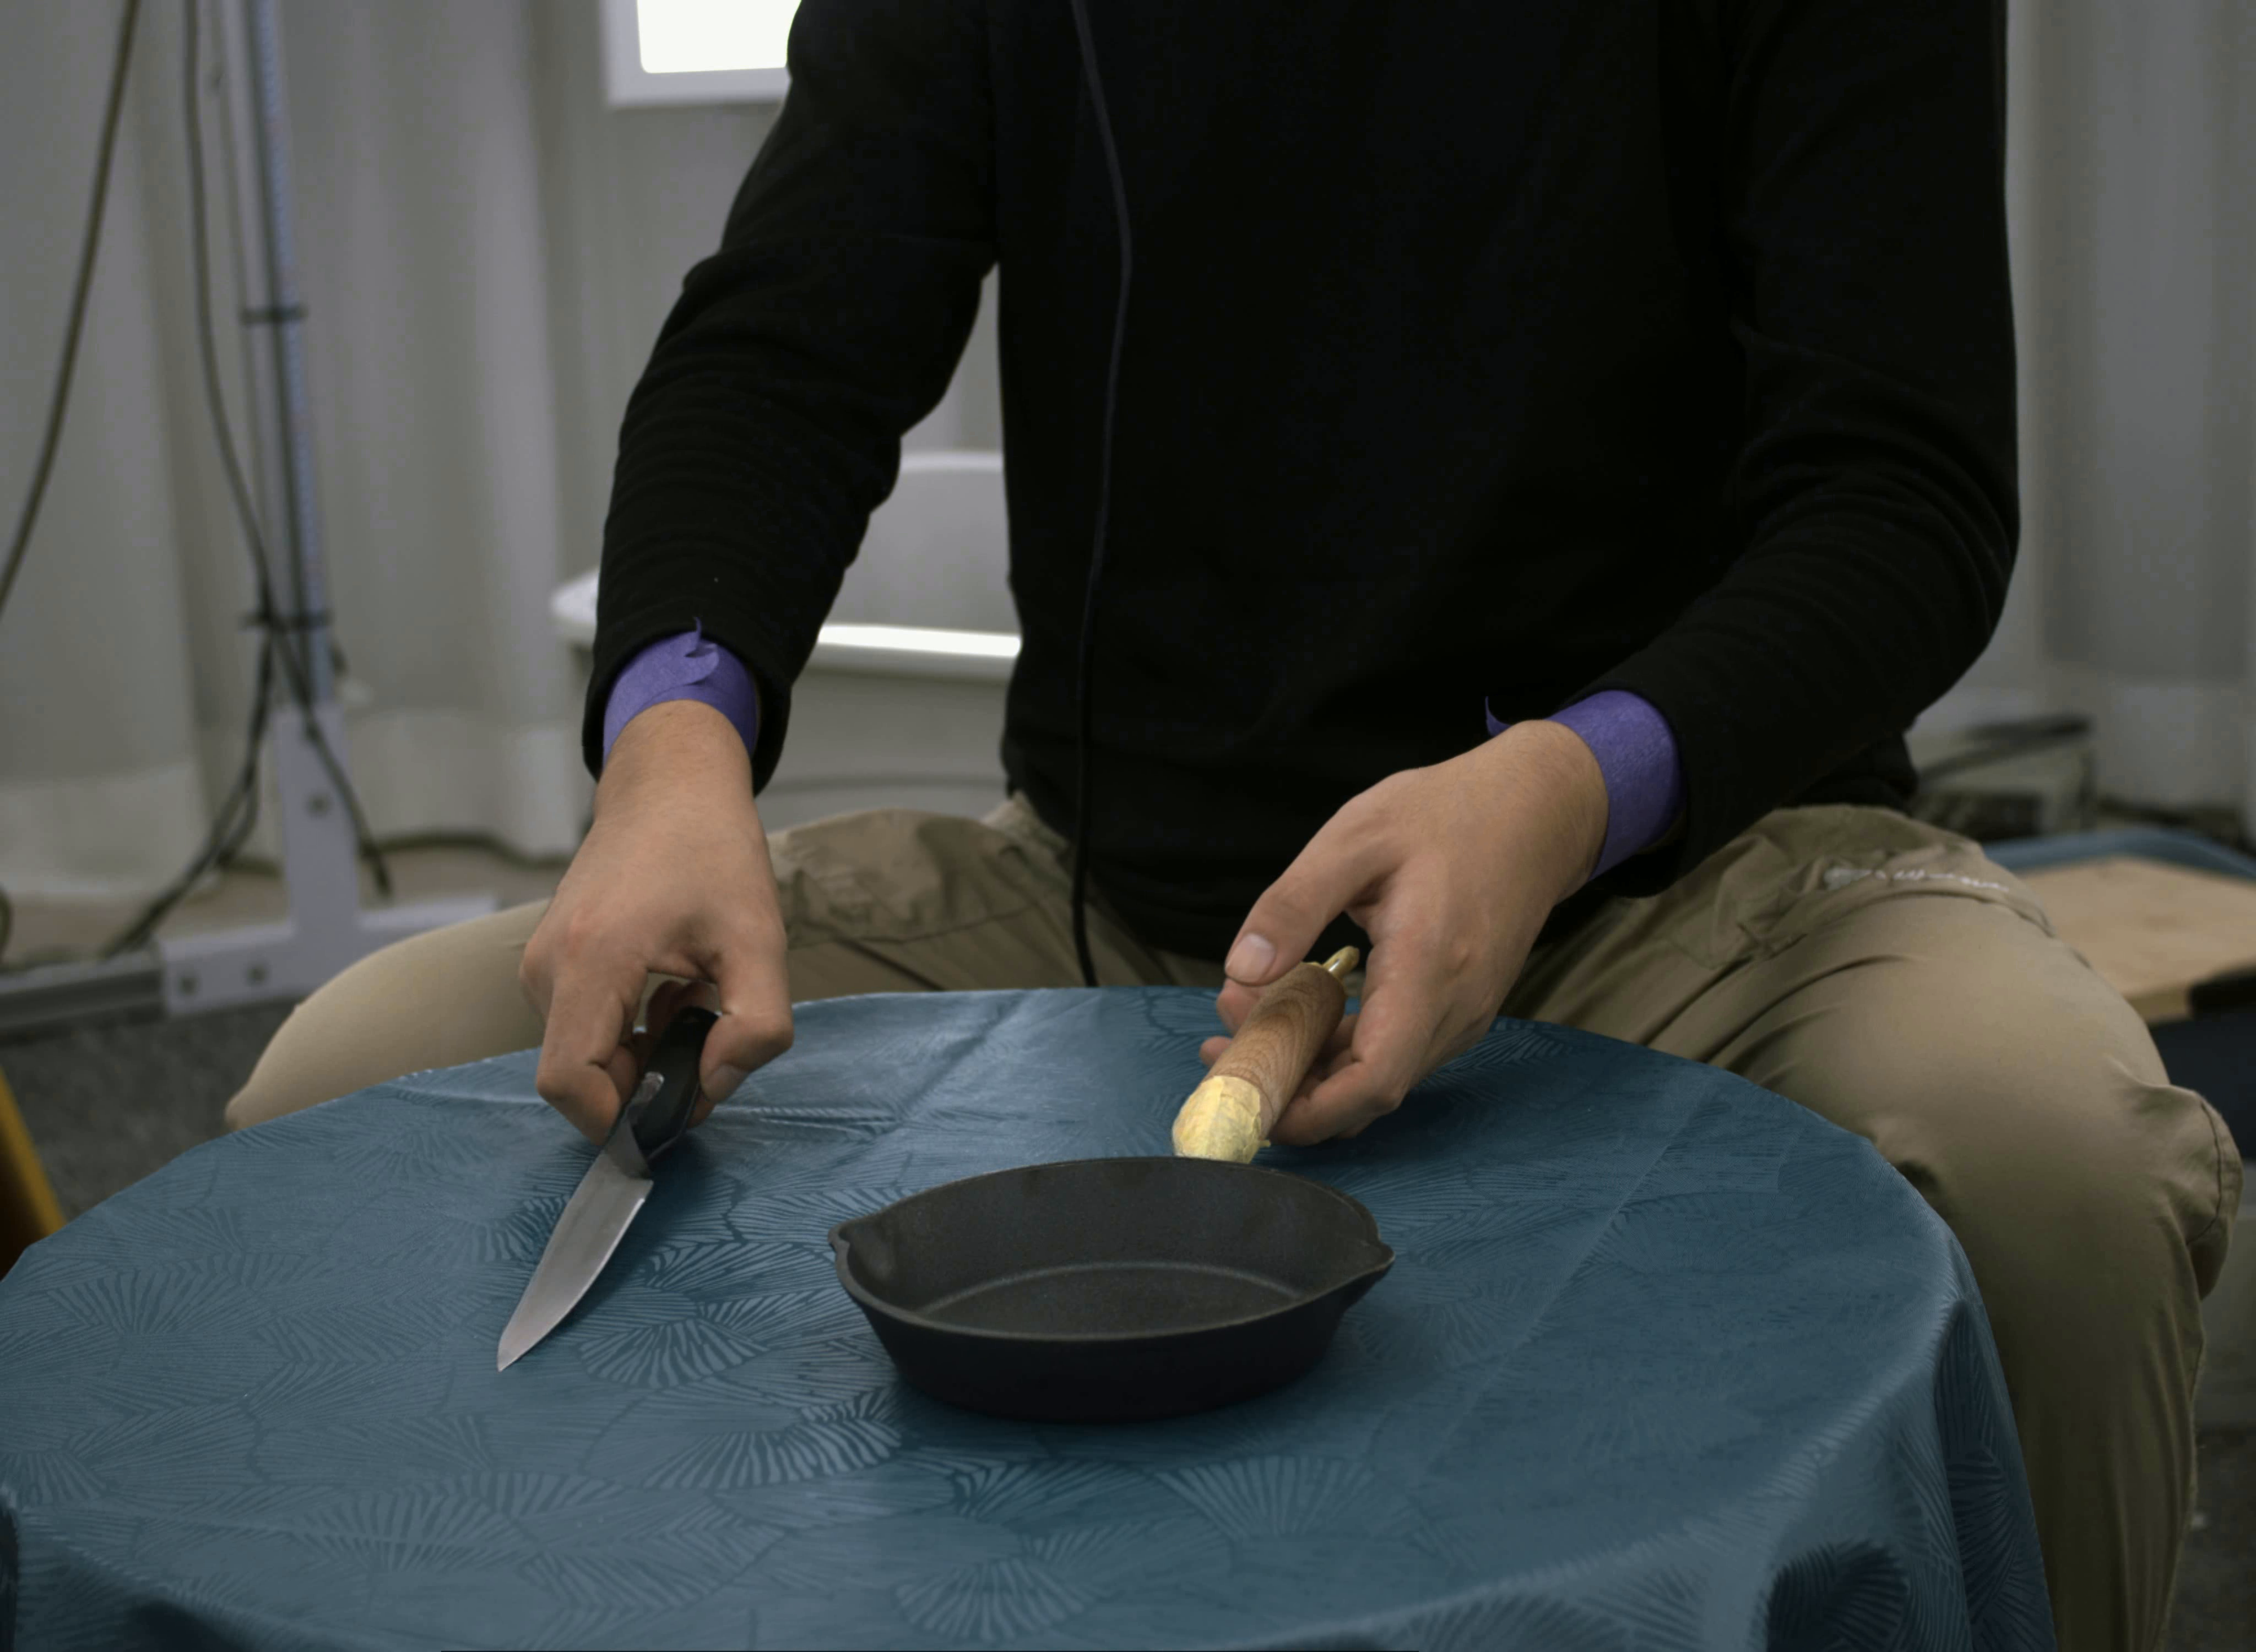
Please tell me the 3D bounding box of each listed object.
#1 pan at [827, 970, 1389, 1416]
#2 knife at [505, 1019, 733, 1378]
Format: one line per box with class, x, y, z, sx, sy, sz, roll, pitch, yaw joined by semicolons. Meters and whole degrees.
pan;0.021;0.107;1.650;0.169;0.049;0.325;3;15;19
knife;-0.160;0.113;1.693;0.024;0.016;0.240;10;24;7
